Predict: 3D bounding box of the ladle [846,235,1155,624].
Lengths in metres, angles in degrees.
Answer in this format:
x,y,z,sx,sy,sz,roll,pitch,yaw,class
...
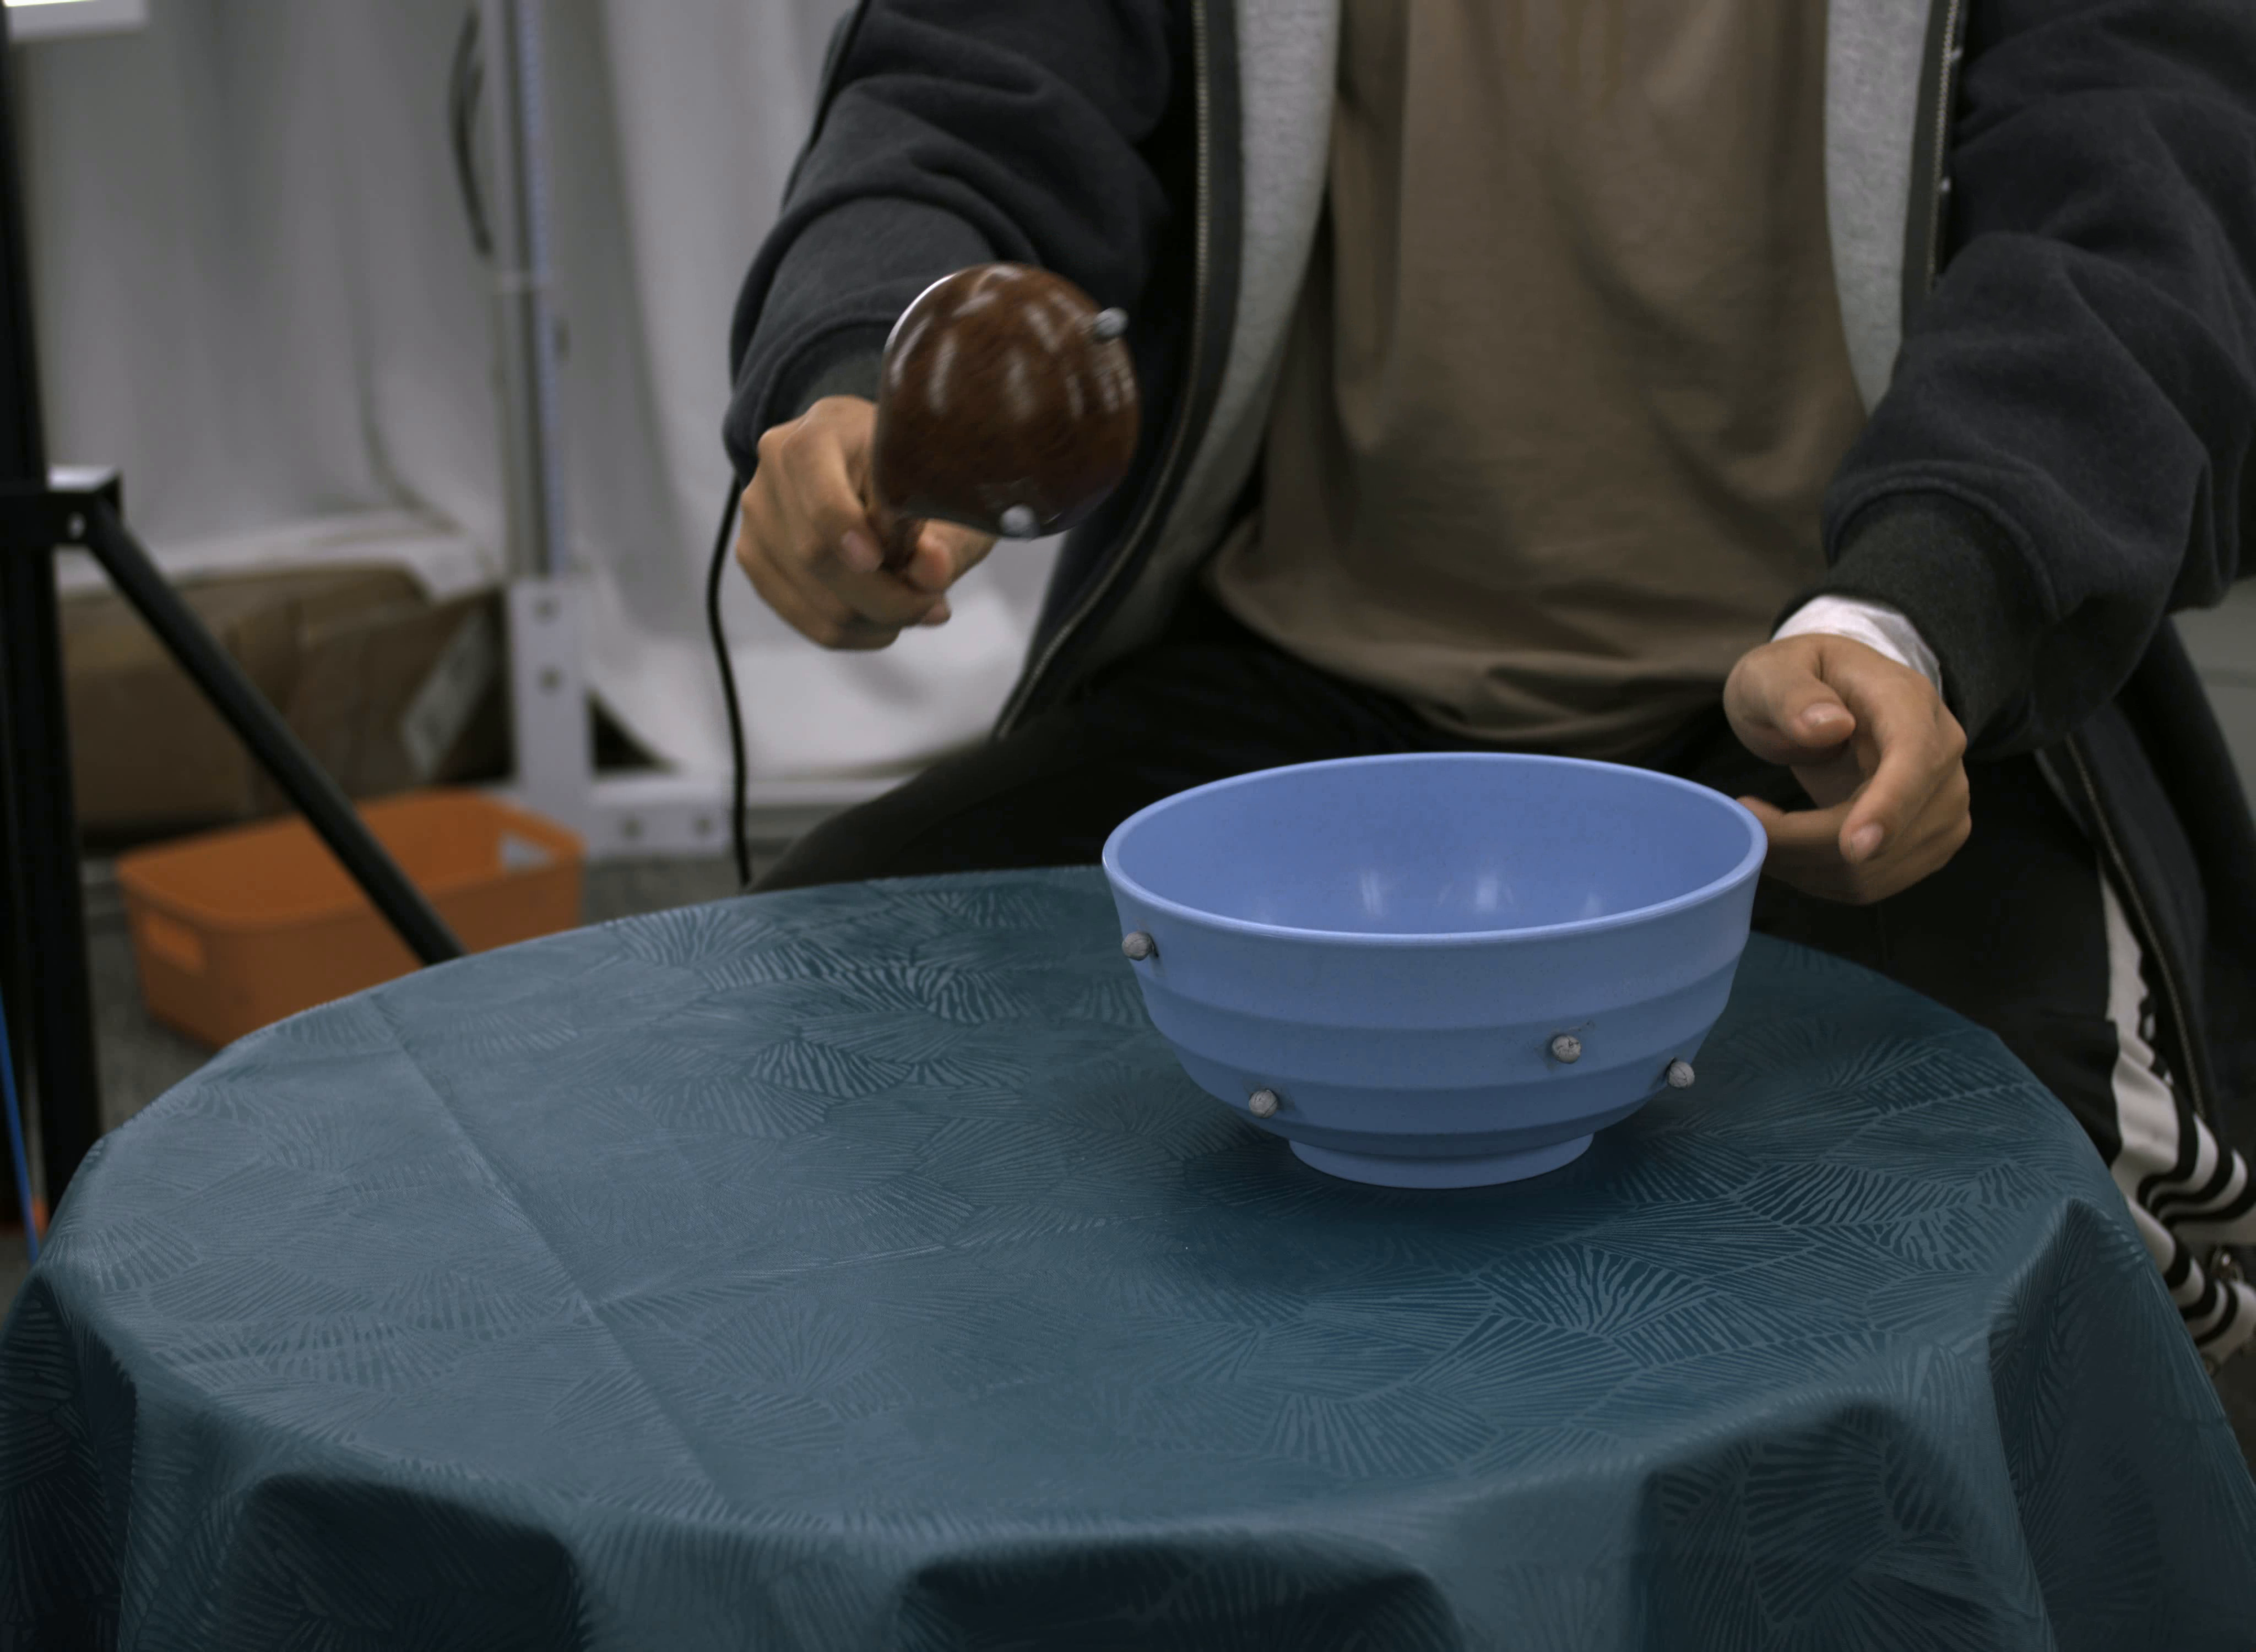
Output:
x,y,z,sx,sy,sz,roll,pitch,yaw,class
-0.044,-0.113,1.629,0.076,0.082,0.274,-27,-4,-9,ladle

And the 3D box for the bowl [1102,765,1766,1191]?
x,y,z,sx,sy,sz,roll,pitch,yaw,class
0.092,0.050,1.579,0.195,0.095,0.197,-3,14,-1,bowl
